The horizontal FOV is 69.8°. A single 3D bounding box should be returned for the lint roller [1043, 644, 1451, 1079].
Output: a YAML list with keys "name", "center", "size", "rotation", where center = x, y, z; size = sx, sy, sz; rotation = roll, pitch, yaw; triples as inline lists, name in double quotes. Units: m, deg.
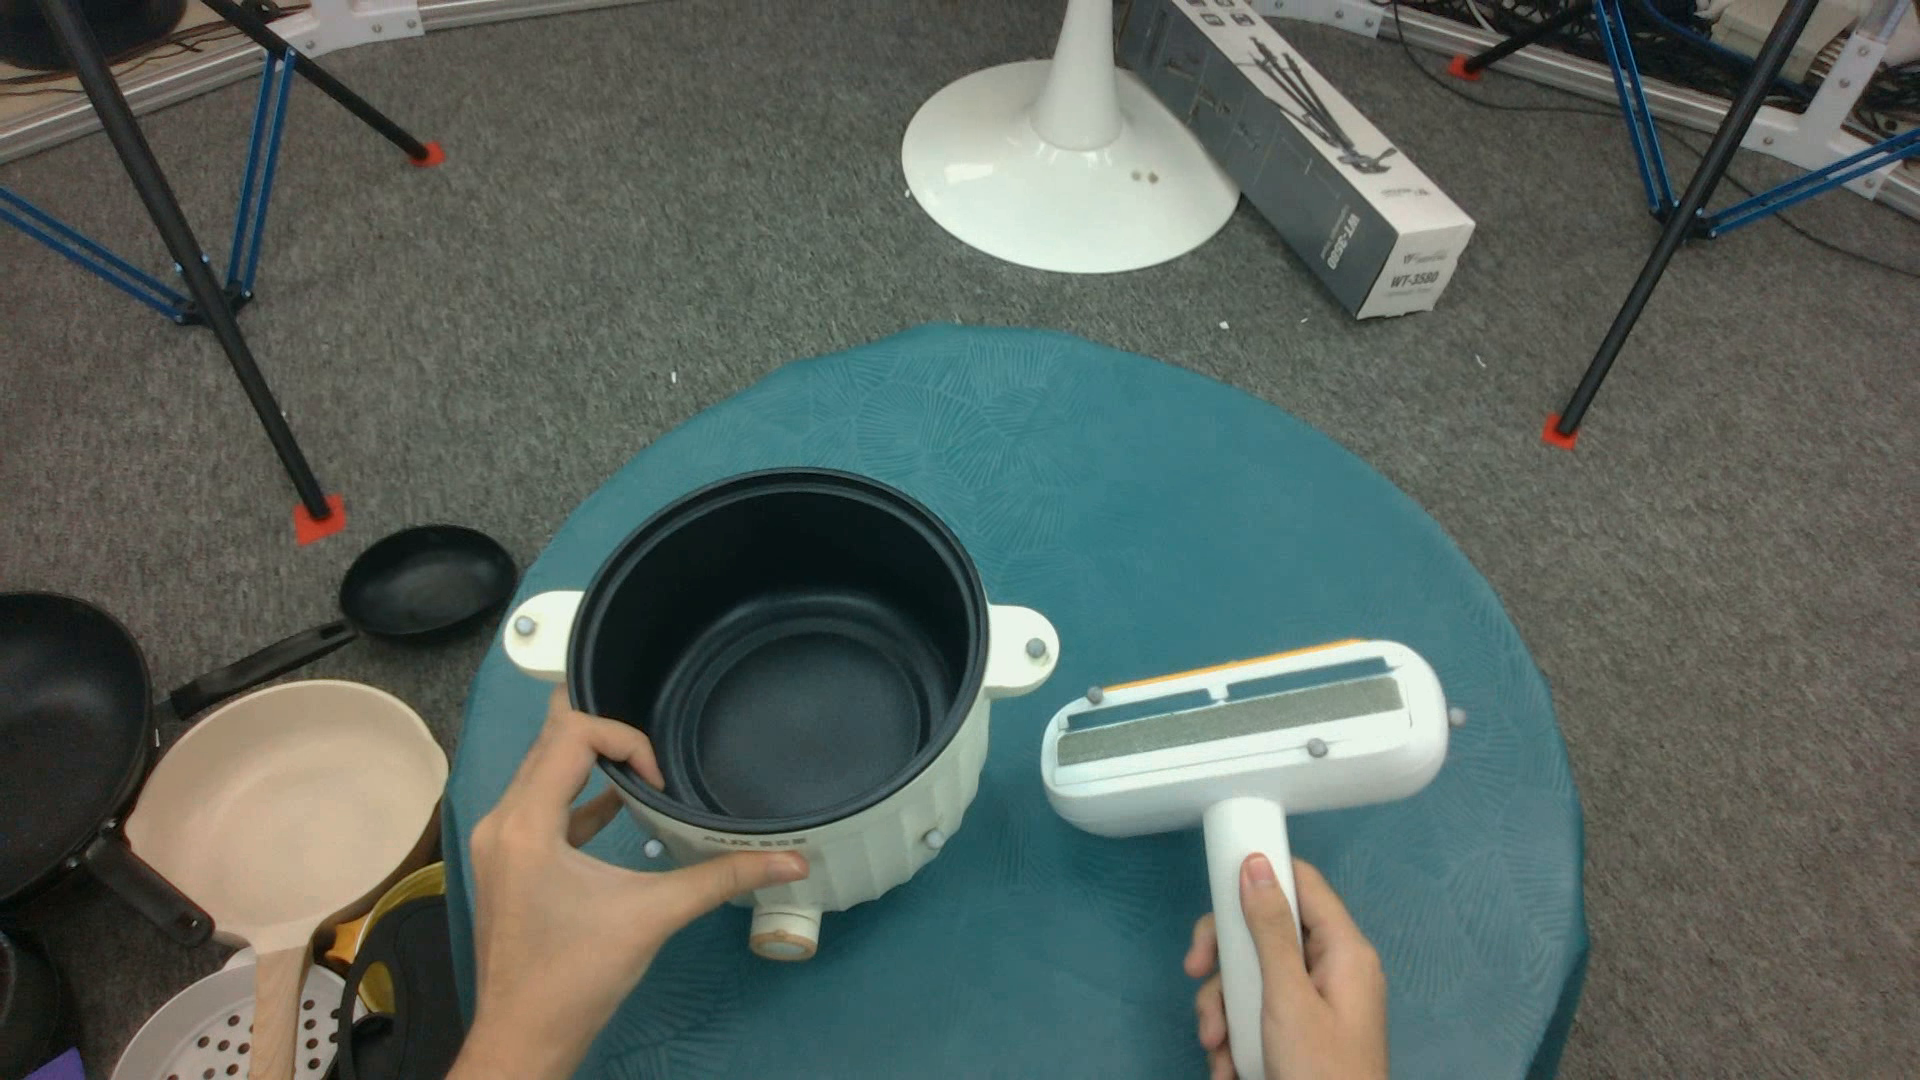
- name: "lint roller"
  center: [0.129, 0.144, 0.634]
  size: [0.192, 0.074, 0.193]
  rotation: [-5, 54, 19]

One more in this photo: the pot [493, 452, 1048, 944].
- name: "pot"
  center: [-0.080, 0.075, 0.641]
  size: [0.240, 0.142, 0.191]
  rotation: [1, 52, 3]
